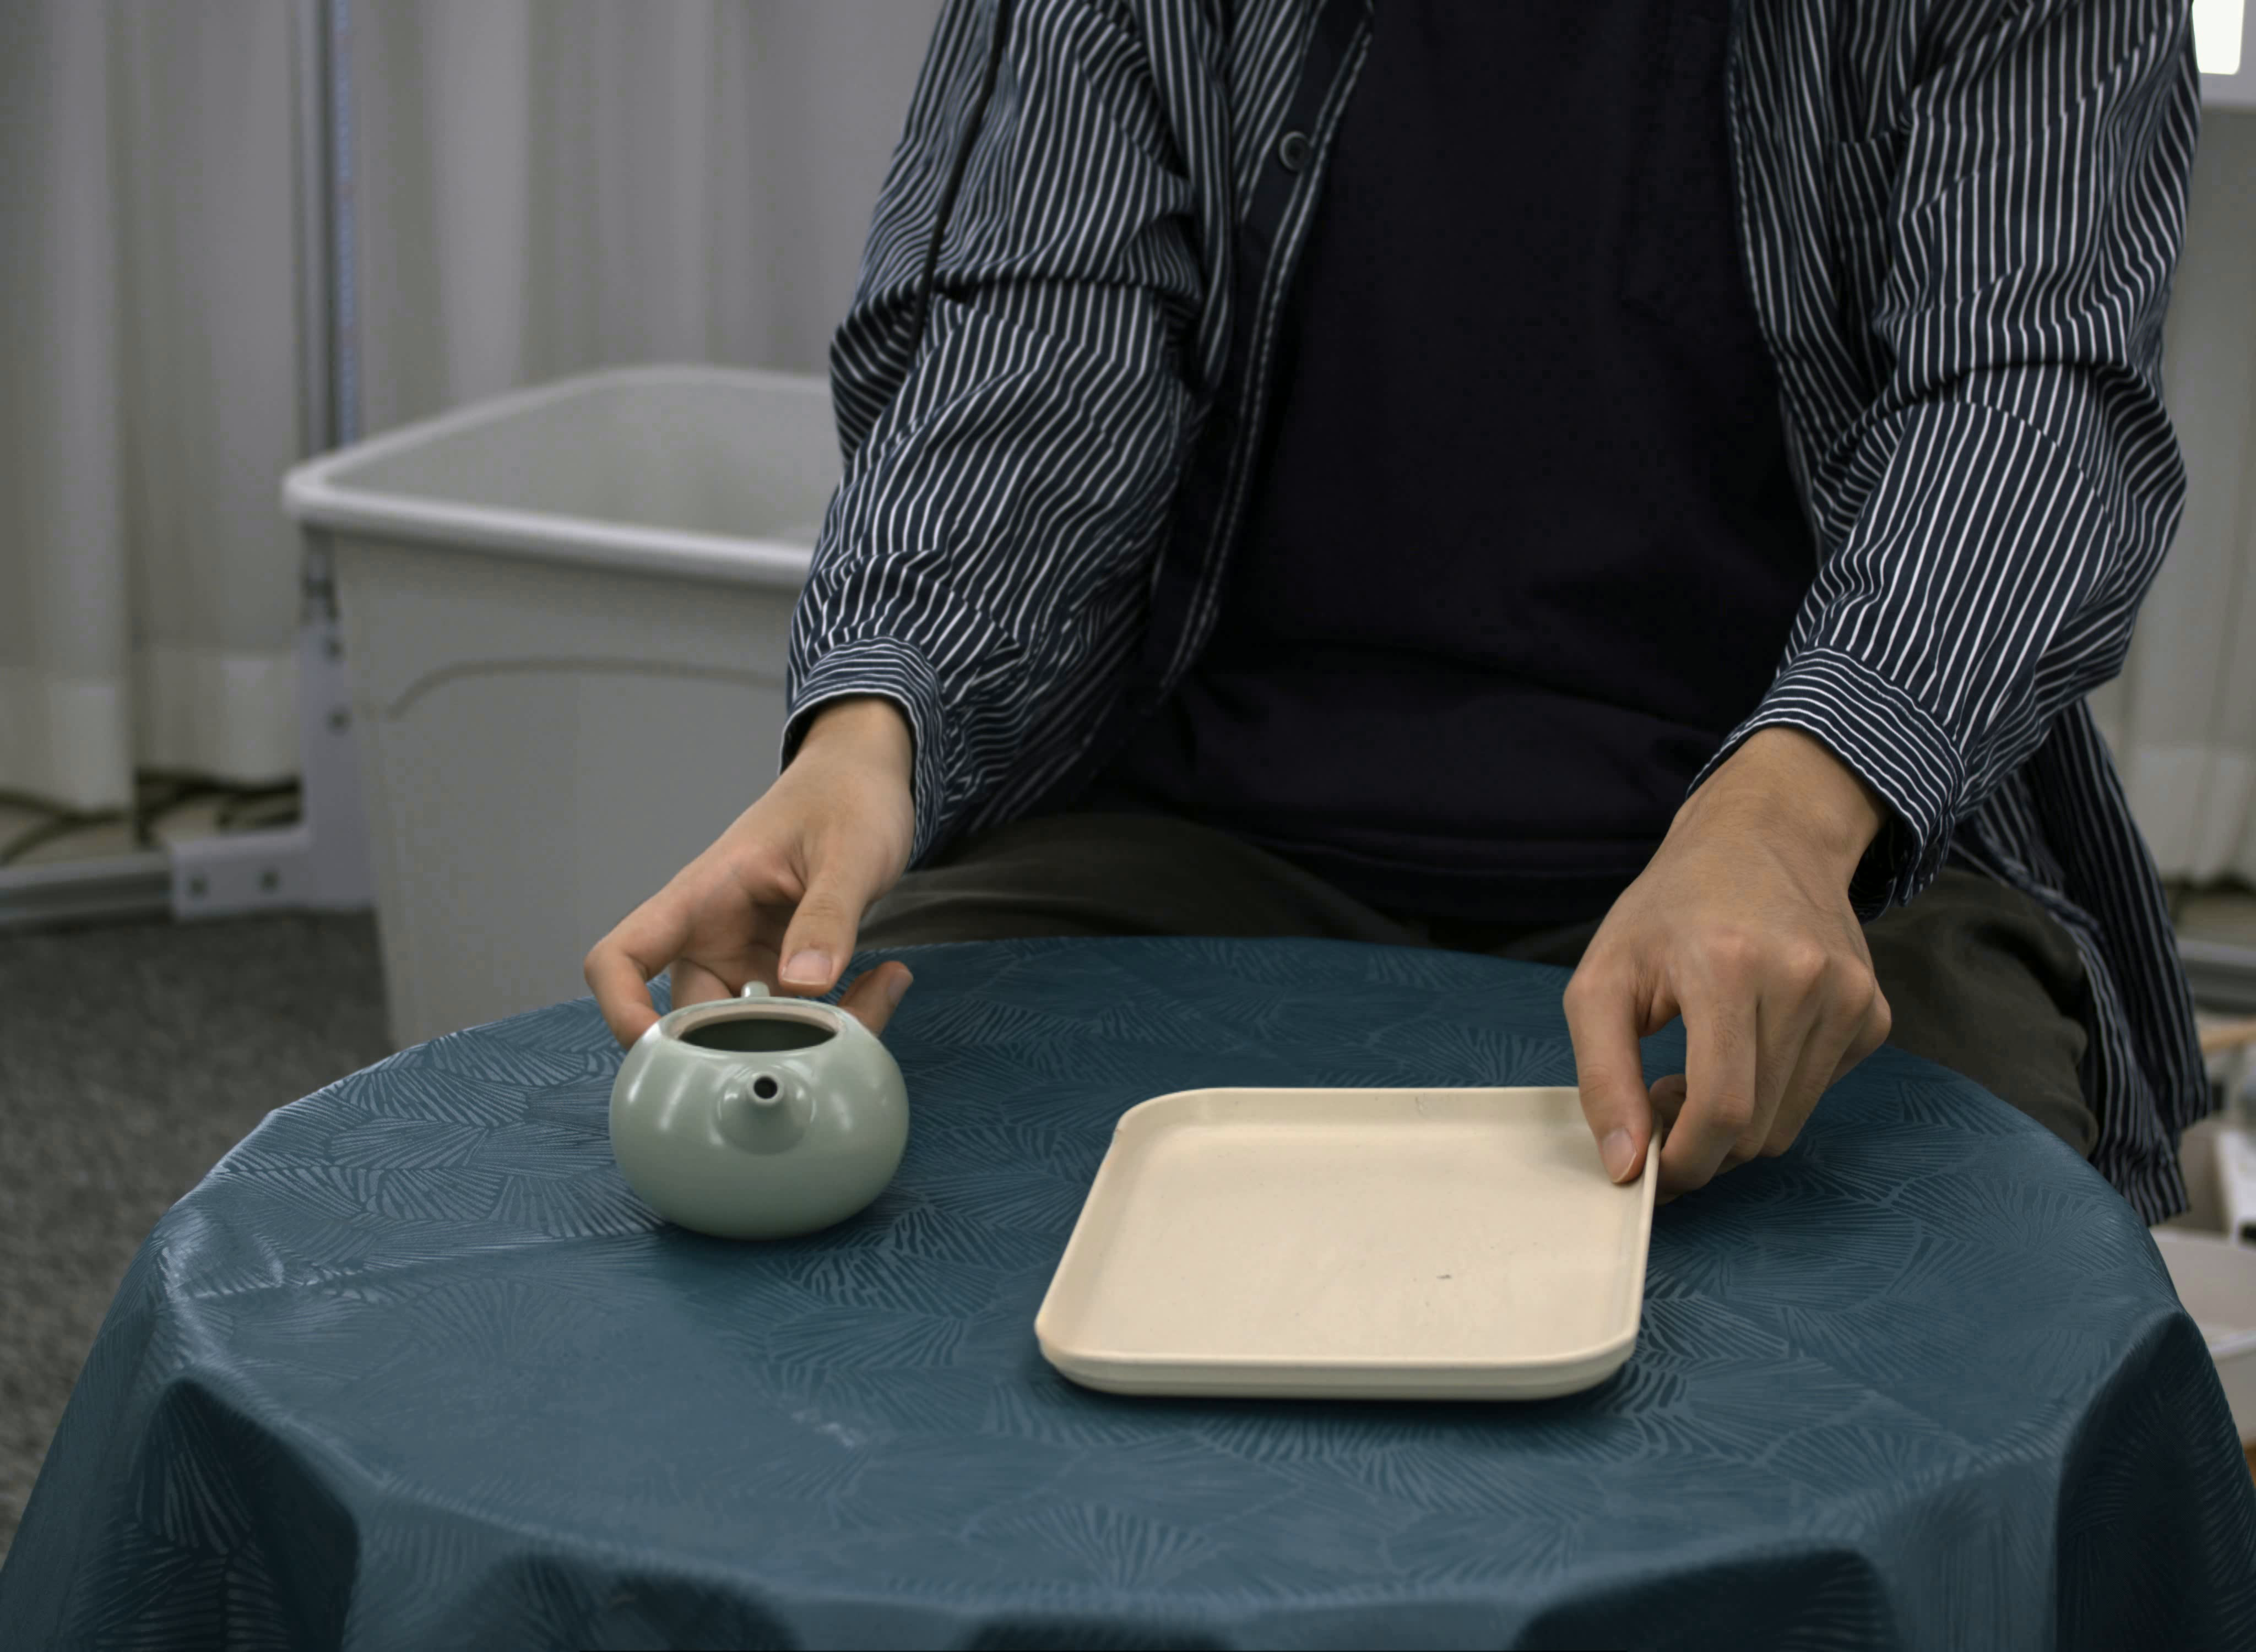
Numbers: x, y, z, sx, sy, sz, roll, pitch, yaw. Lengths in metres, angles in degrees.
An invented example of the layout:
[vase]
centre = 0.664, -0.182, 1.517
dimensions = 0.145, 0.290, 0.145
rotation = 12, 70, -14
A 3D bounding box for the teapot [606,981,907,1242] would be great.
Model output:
[teapot]
centre = -0.113, 0.087, 1.609
dimensions = 0.091, 0.061, 0.128
rotation = -2, 15, -1

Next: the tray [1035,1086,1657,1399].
[tray]
centre = 0.069, 0.121, 1.554
dimensions = 0.170, 0.017, 0.239
rotation = 1, 15, 7
